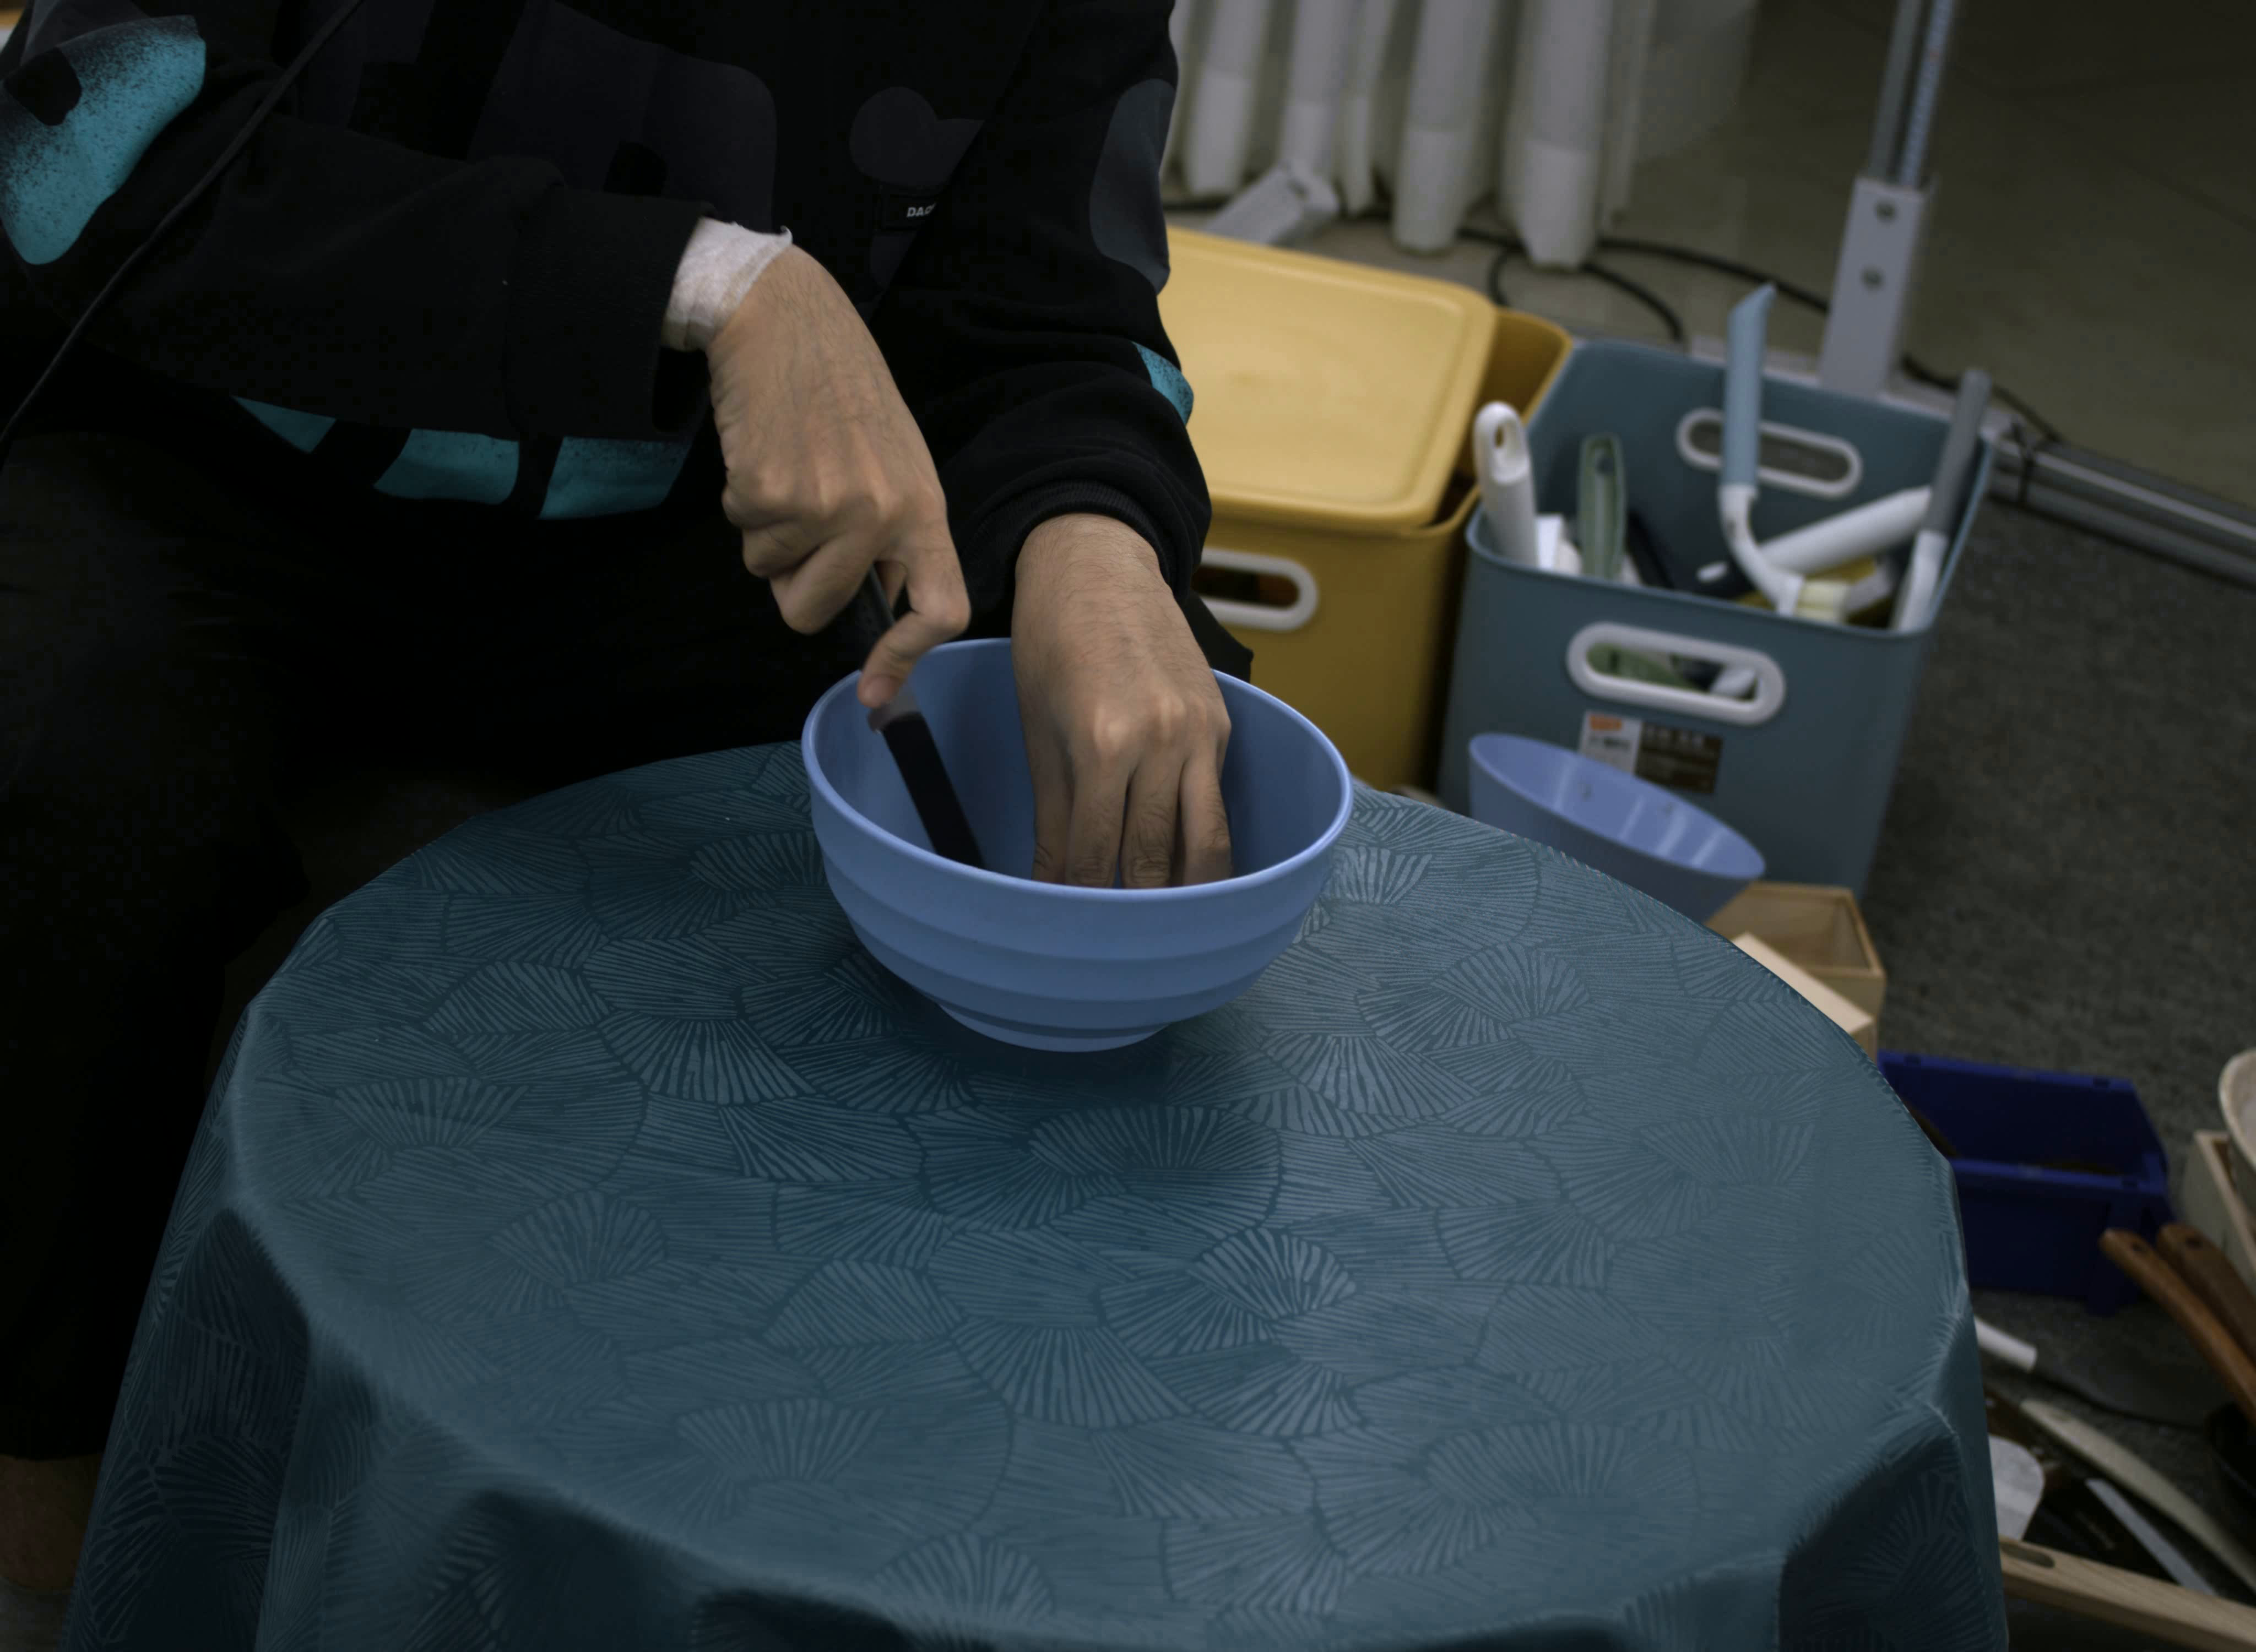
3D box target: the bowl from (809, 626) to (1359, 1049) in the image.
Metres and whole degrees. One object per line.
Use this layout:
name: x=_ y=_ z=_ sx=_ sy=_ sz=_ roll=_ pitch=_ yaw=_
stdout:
bowl: x=-0.022 y=0.015 z=1.900 sx=0.196 sy=0.095 sz=0.198 roll=7 pitch=29 yaw=-4

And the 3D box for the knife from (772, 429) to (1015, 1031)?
knife: x=-0.078 y=-0.034 z=1.886 sx=0.026 sy=0.226 sz=0.017 roll=-23 pitch=-2 yaw=36
